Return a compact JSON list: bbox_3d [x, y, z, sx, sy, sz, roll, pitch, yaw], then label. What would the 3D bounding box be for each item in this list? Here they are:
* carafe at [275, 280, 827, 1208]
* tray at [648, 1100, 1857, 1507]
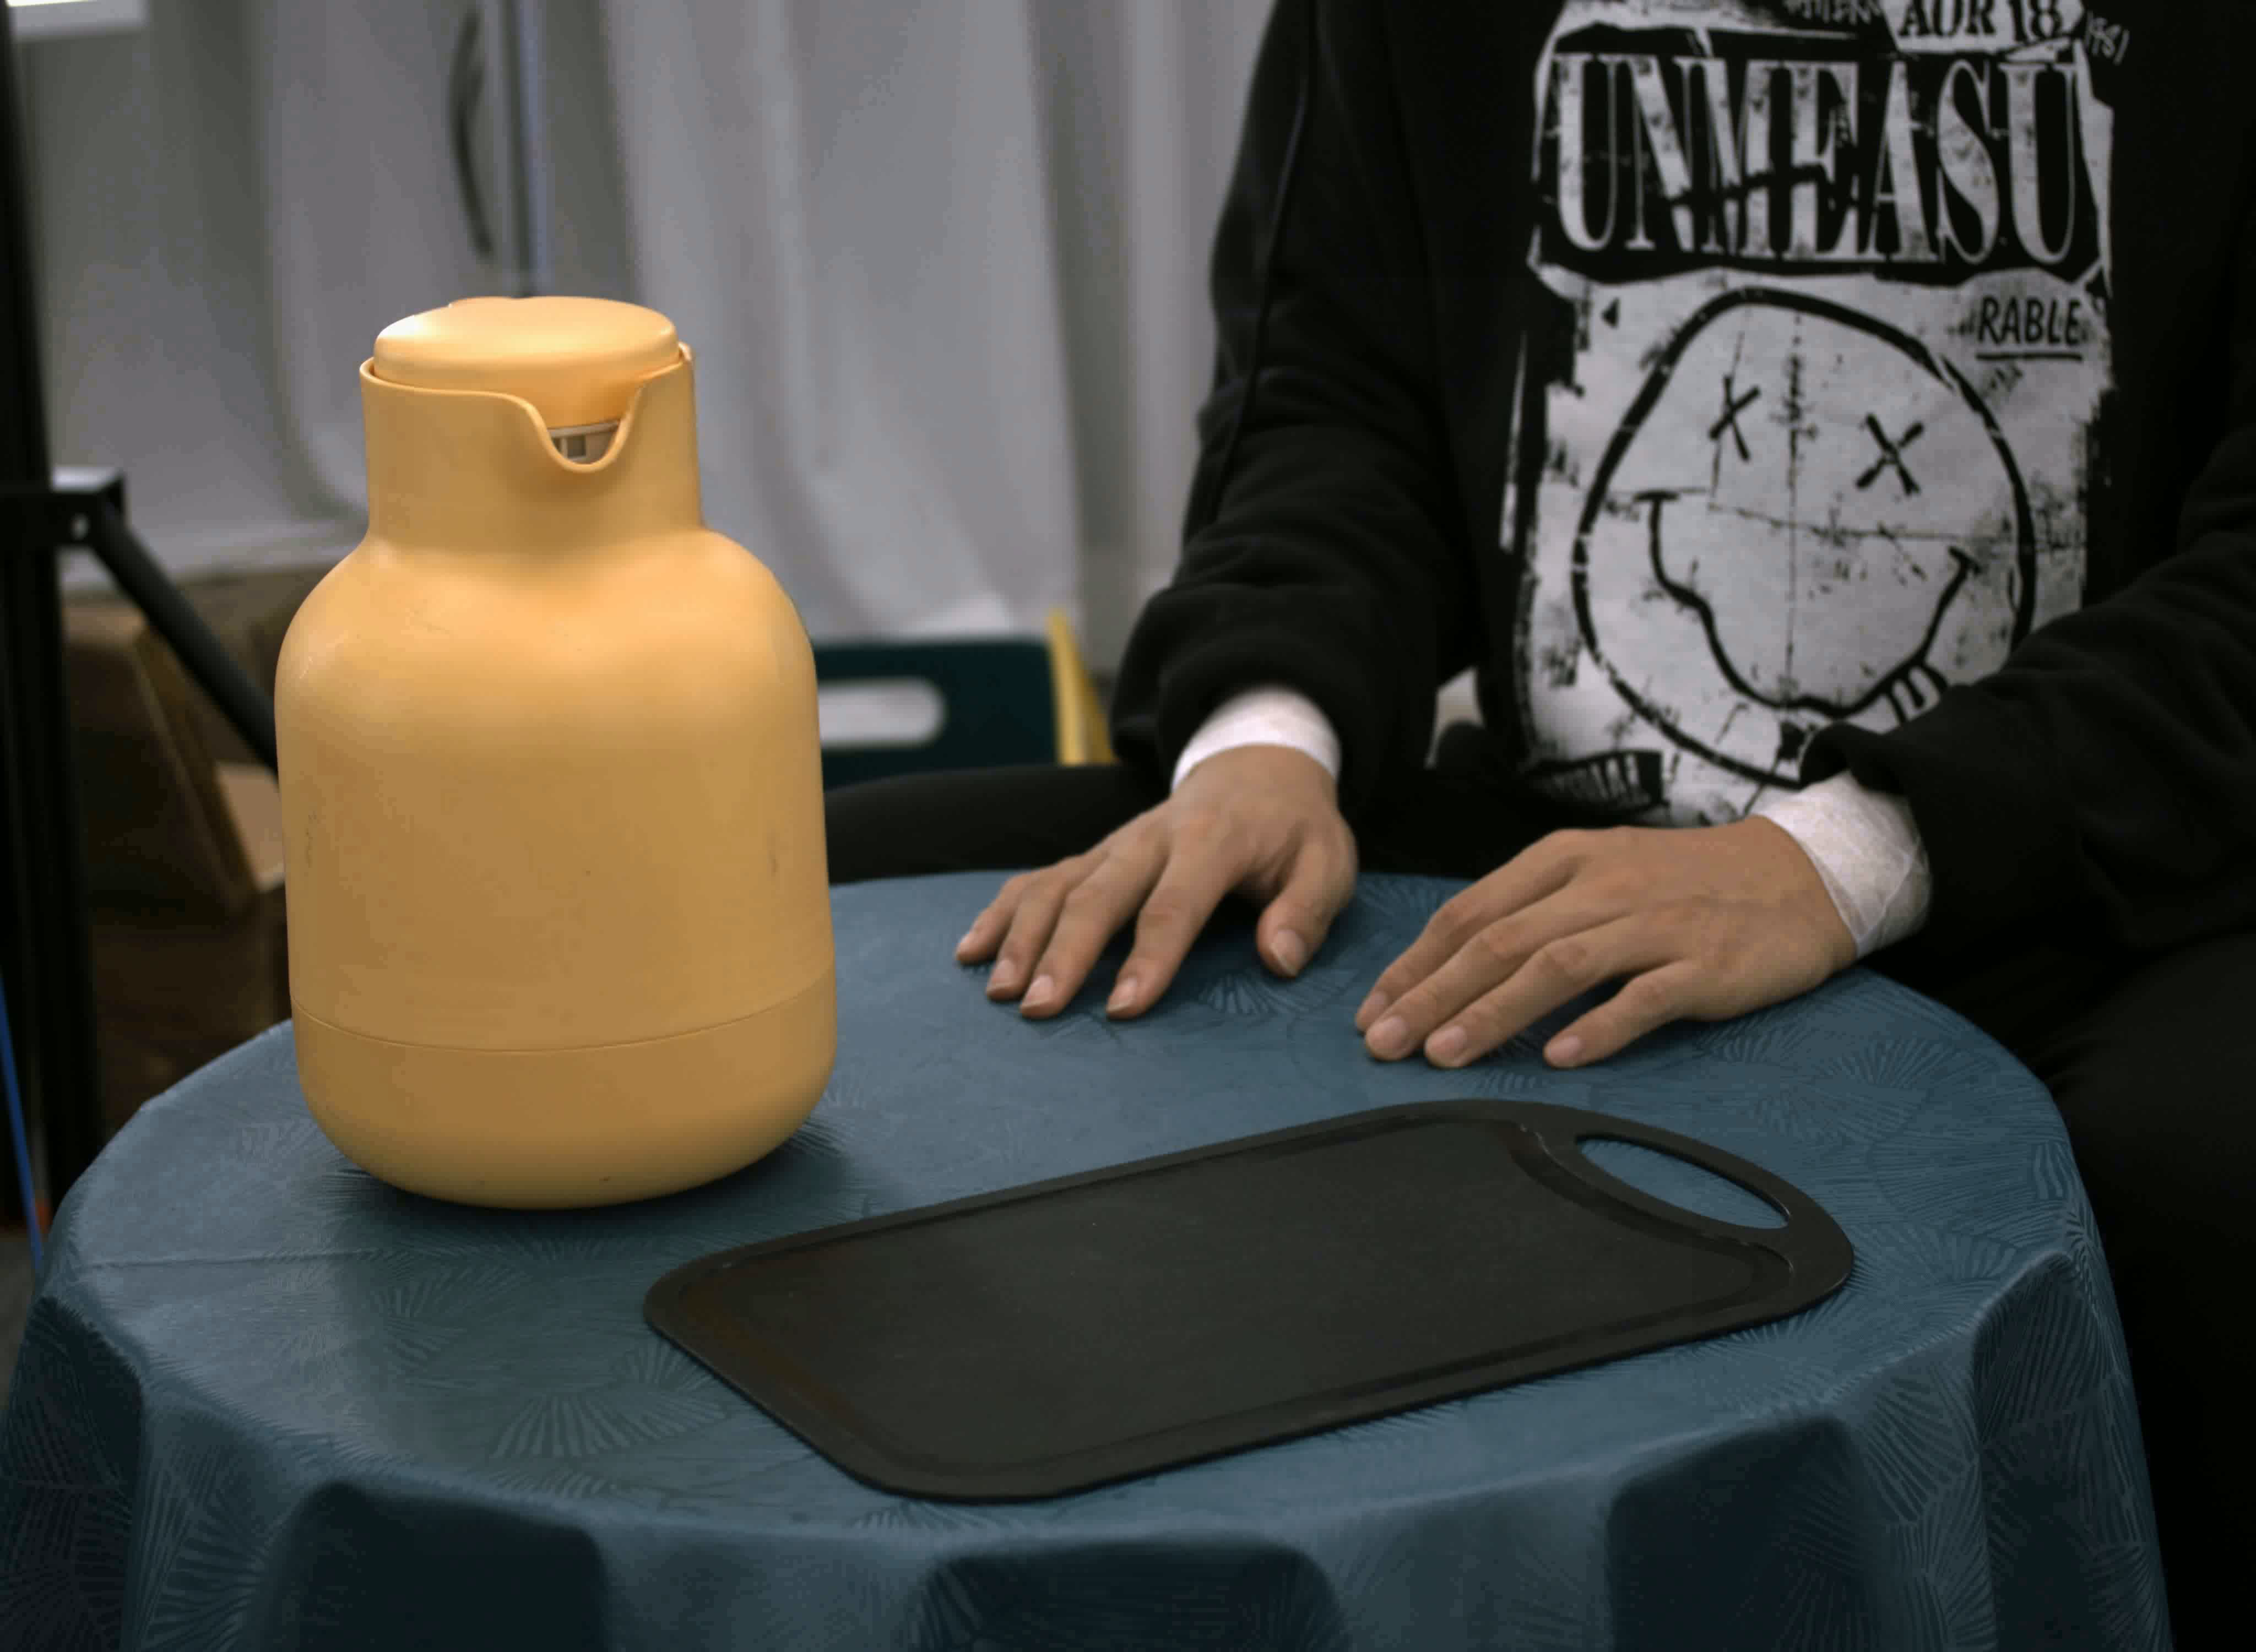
[{"bbox_3d":[-0.176,-0.033,1.602,0.161,0.260,0.205,-4,16,-15],"label":"carafe"},{"bbox_3d":[0.041,0.125,1.476,0.318,0.010,0.215,-10,18,-25],"label":"tray"}]
